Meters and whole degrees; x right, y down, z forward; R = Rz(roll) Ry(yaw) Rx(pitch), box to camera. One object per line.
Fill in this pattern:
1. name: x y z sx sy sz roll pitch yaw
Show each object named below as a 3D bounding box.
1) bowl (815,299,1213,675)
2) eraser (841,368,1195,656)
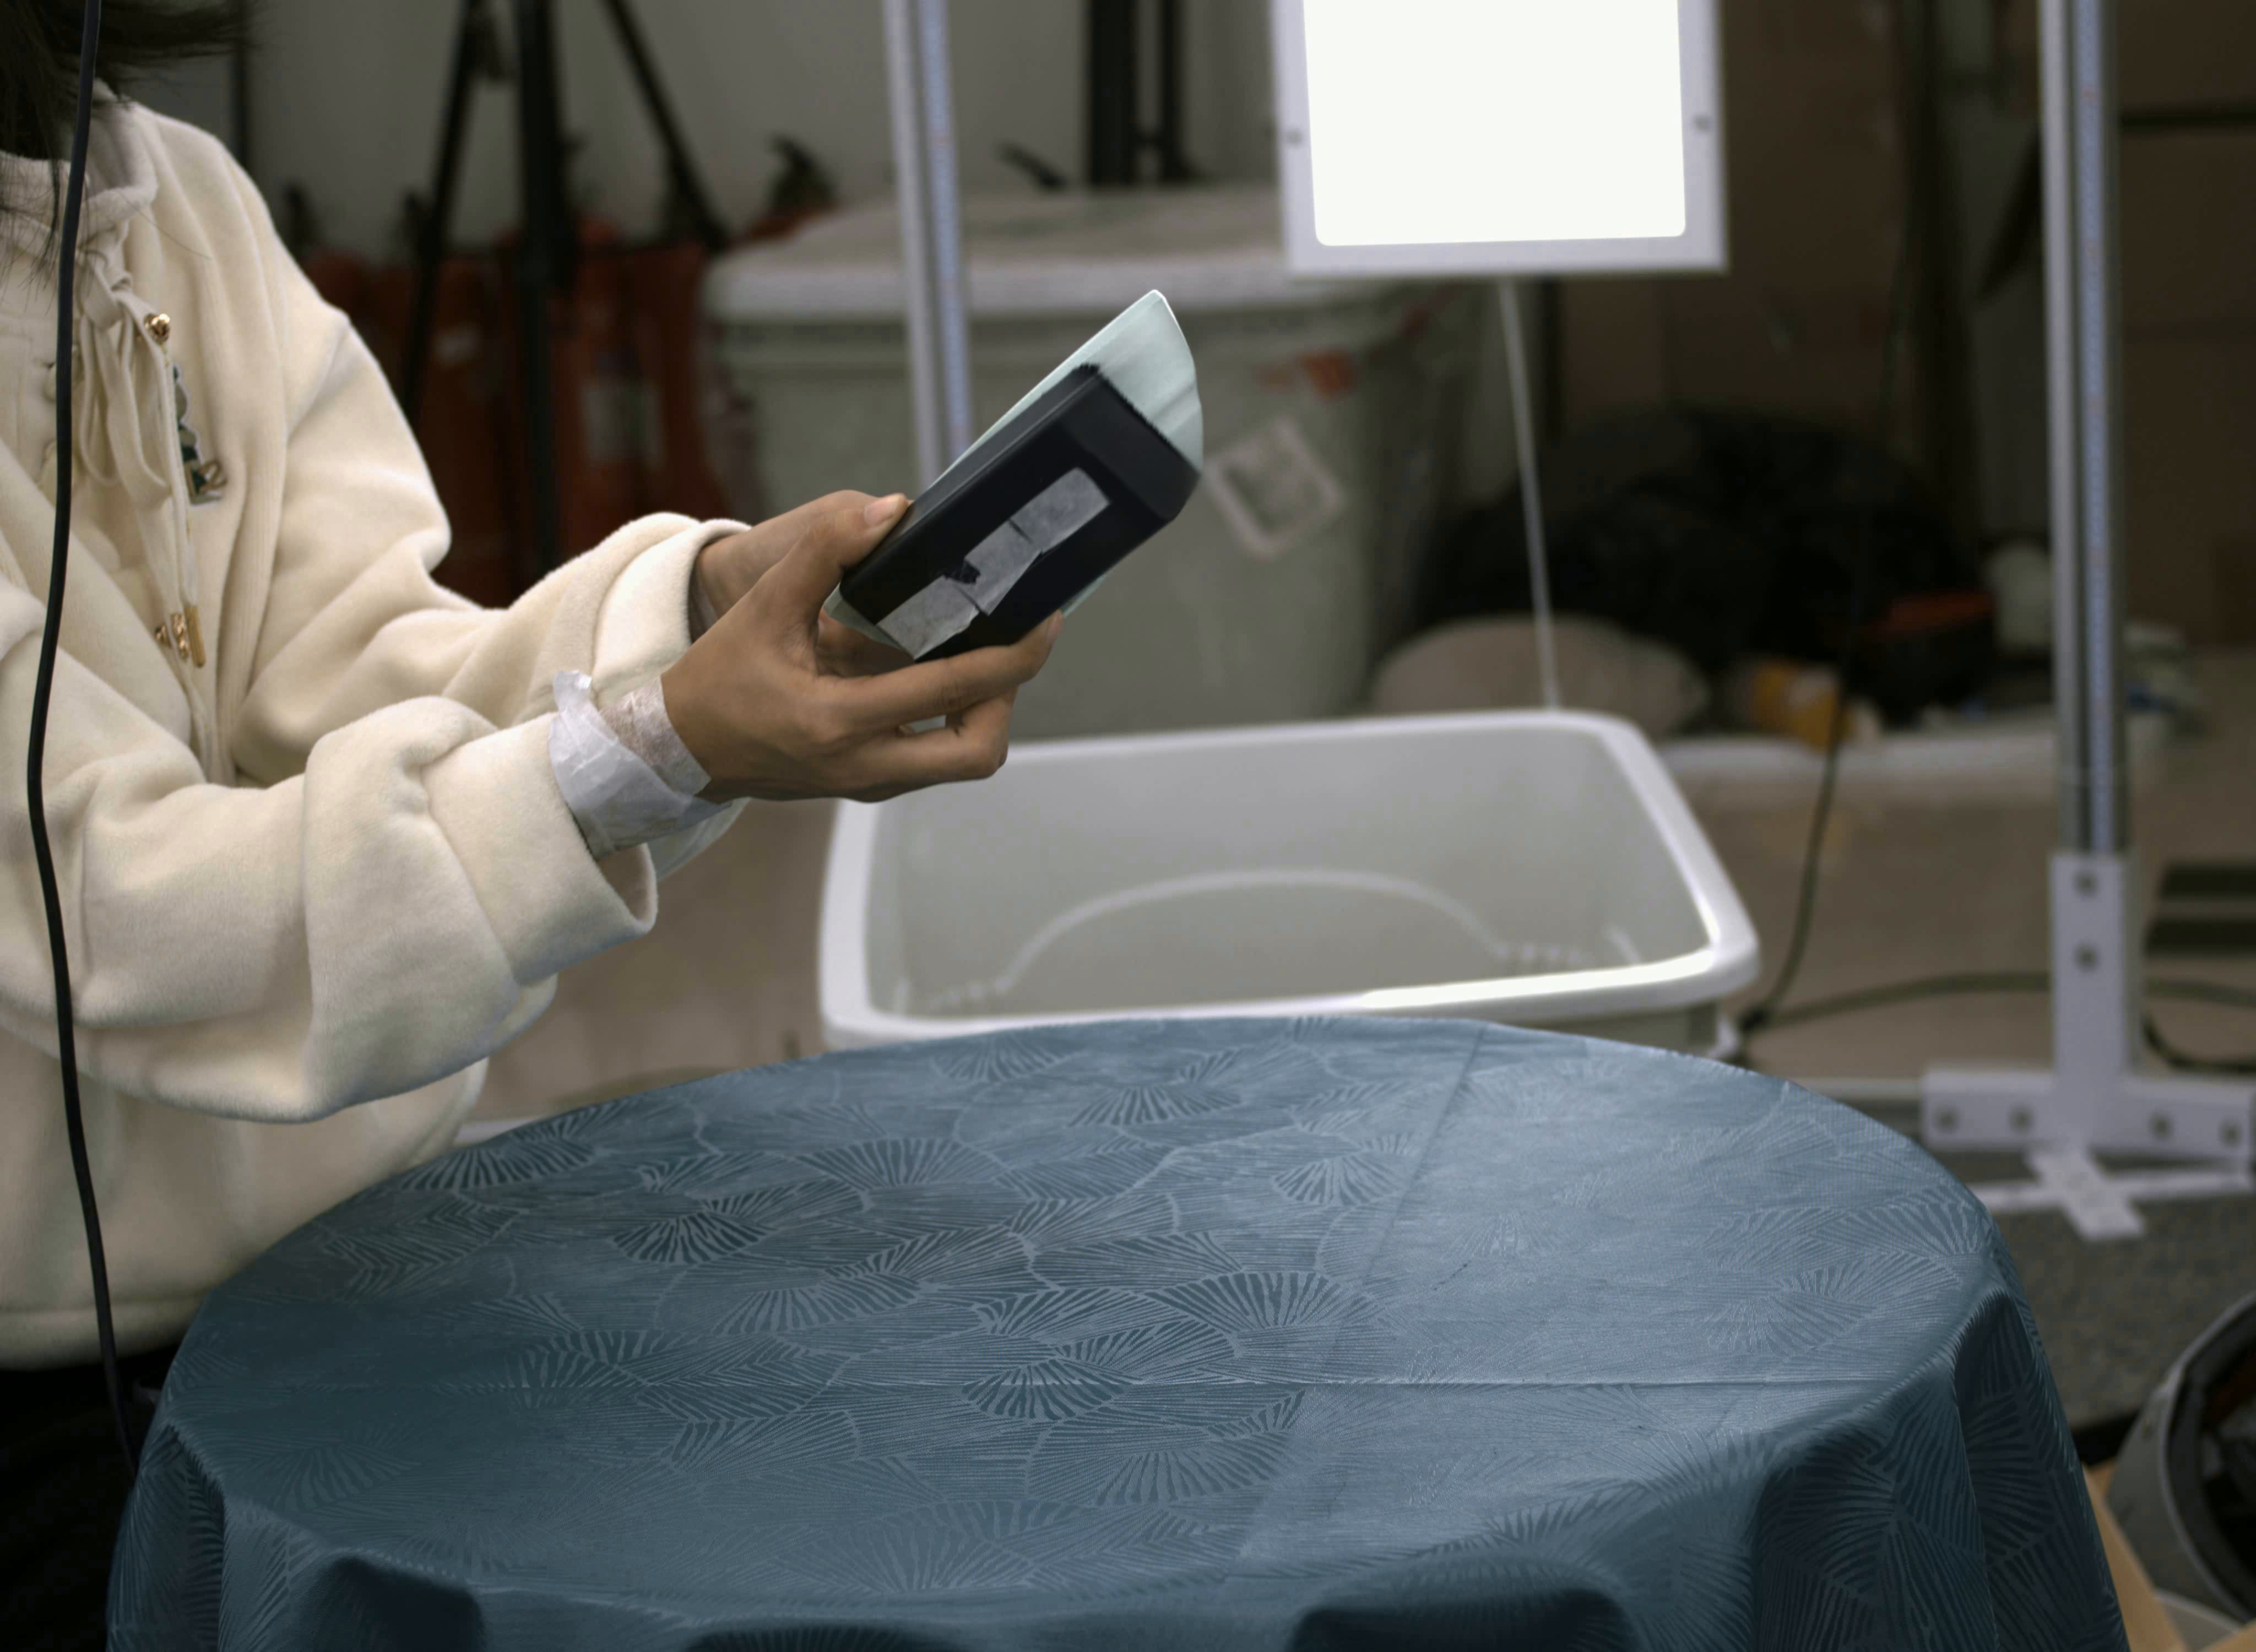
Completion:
1. bowl: -0.027 -0.102 1.798 0.151 0.059 0.151 -41 -1 -3
2. eraser: -0.035 -0.096 1.707 0.128 0.053 0.030 -30 28 51
